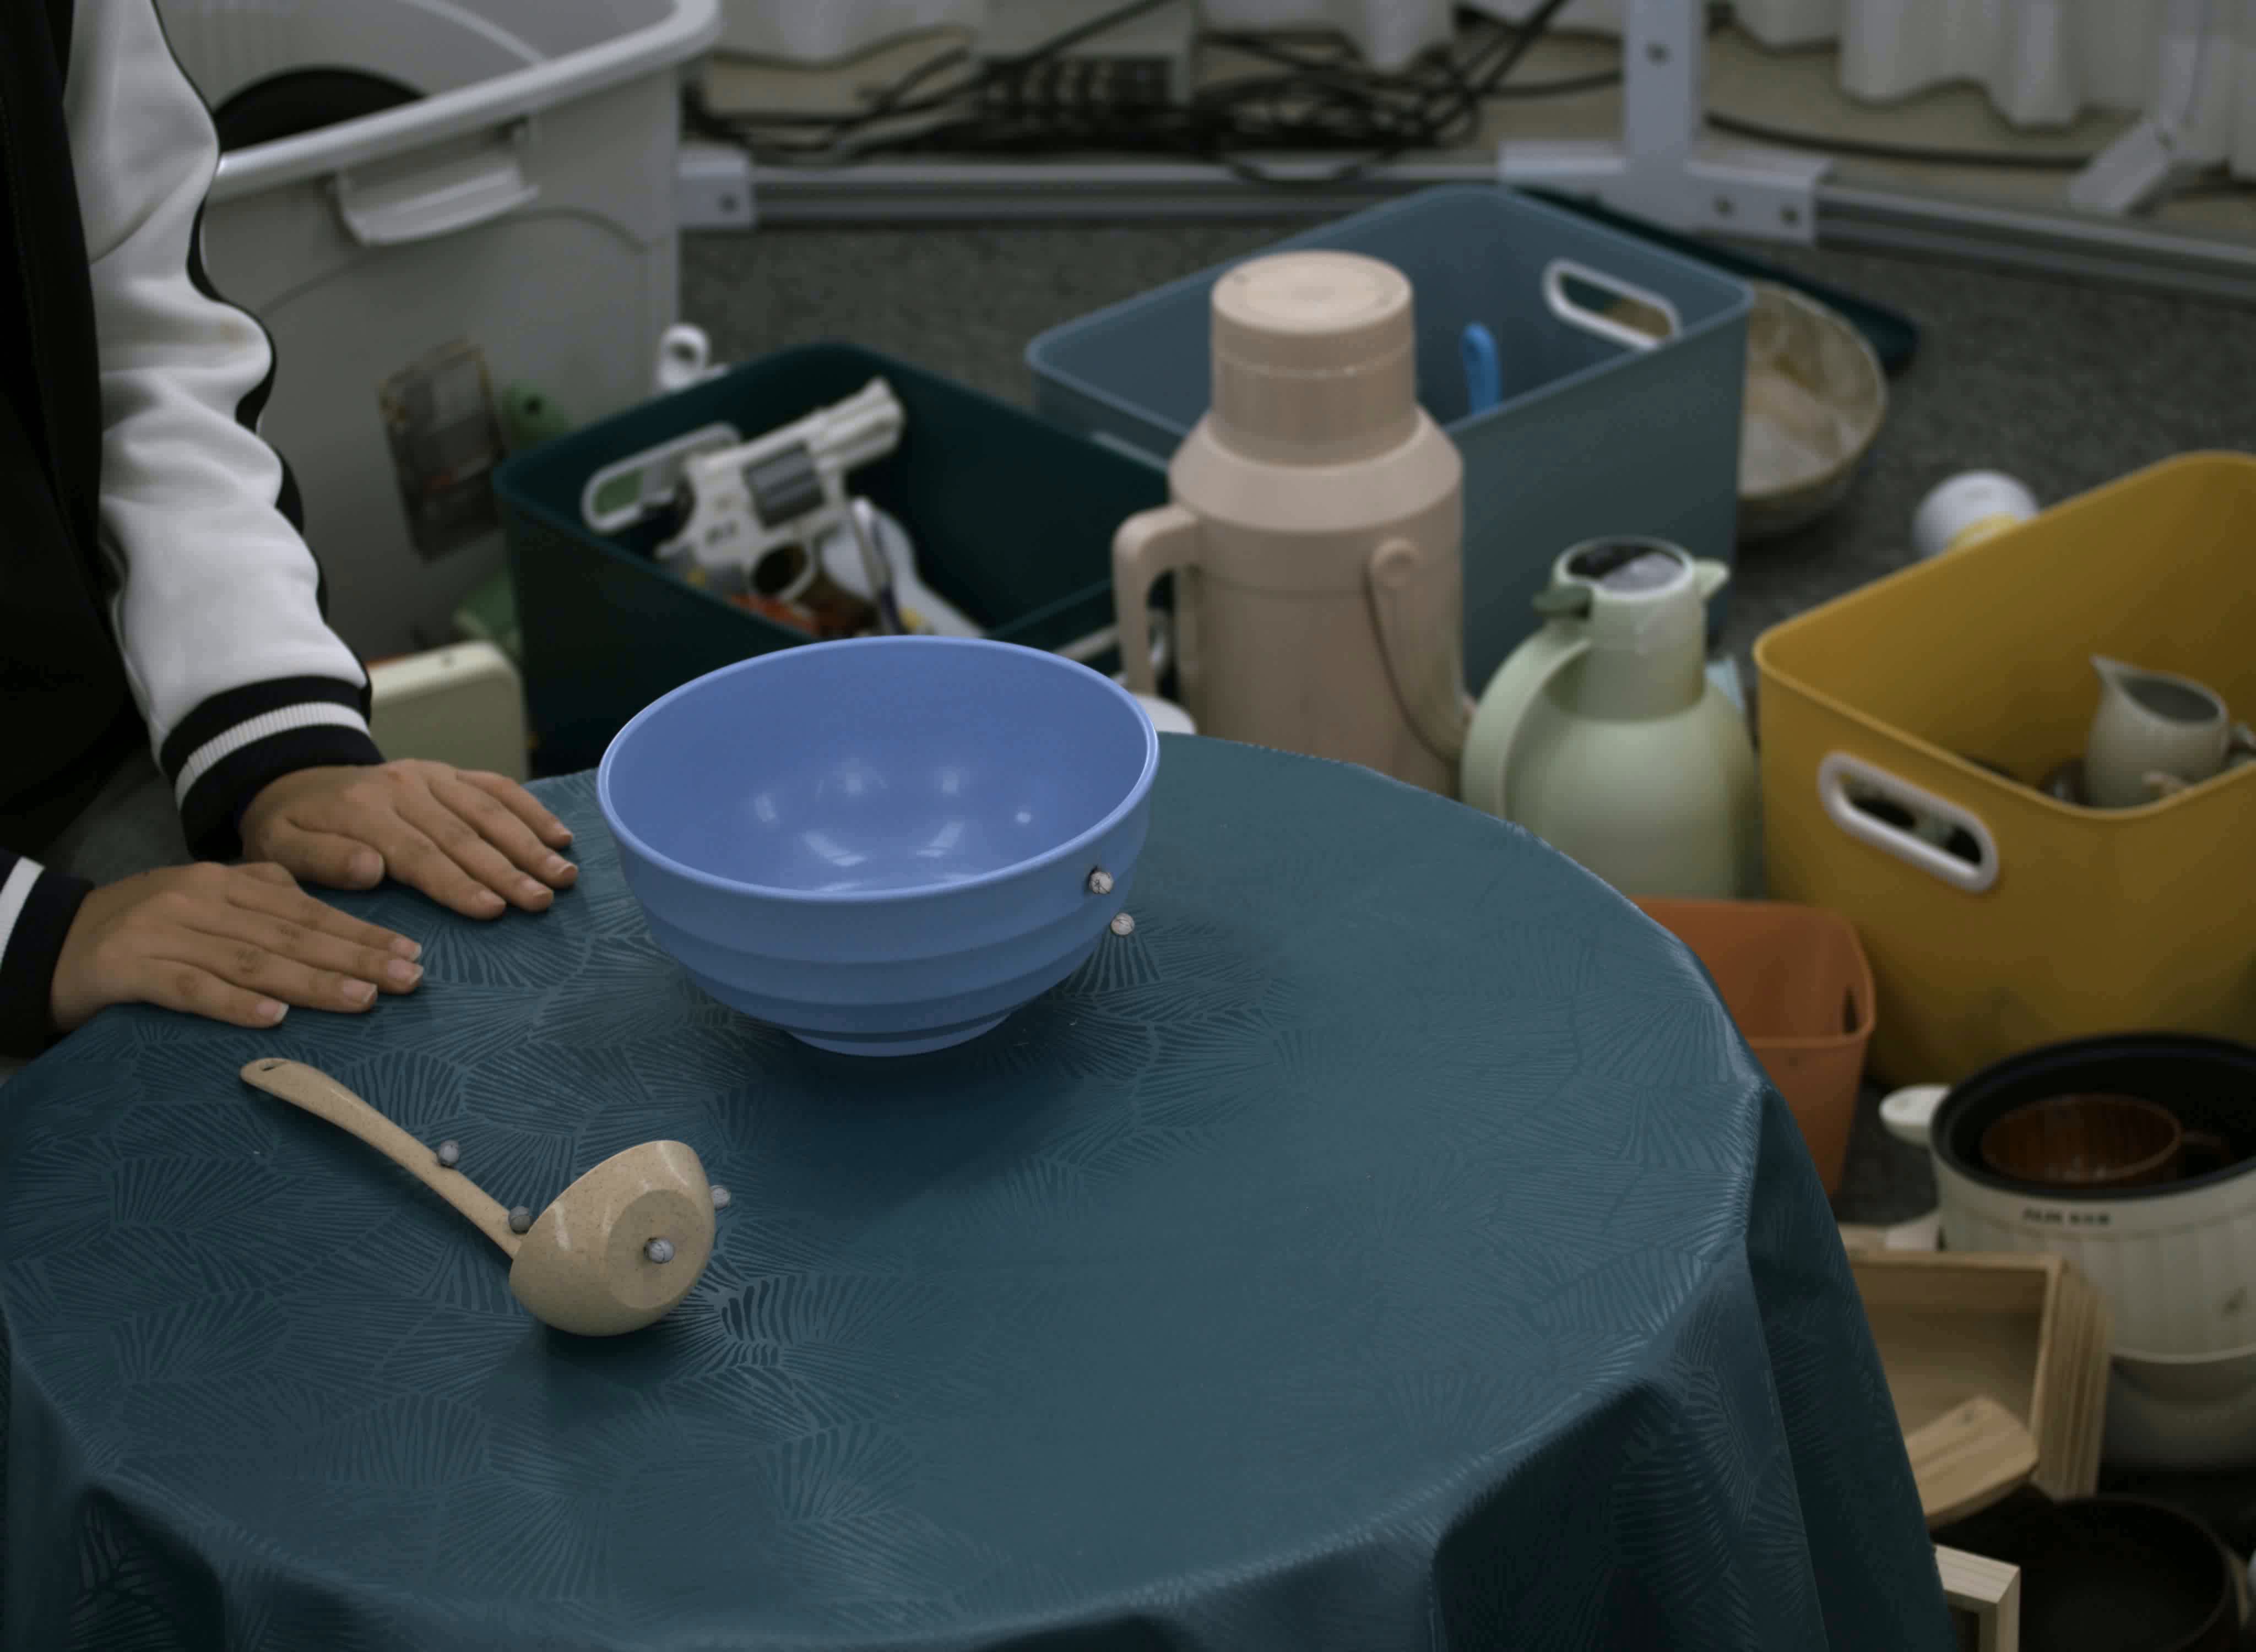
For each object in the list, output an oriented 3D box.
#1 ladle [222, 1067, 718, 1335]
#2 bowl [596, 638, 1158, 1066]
[{"bbox_3d":[-0.229,0.097,1.854,0.073,0.072,0.254,-23,33,-35],"label":"ladle"},{"bbox_3d":[-0.084,0.021,1.970,0.195,0.094,0.199,-3,28,2],"label":"bowl"}]
